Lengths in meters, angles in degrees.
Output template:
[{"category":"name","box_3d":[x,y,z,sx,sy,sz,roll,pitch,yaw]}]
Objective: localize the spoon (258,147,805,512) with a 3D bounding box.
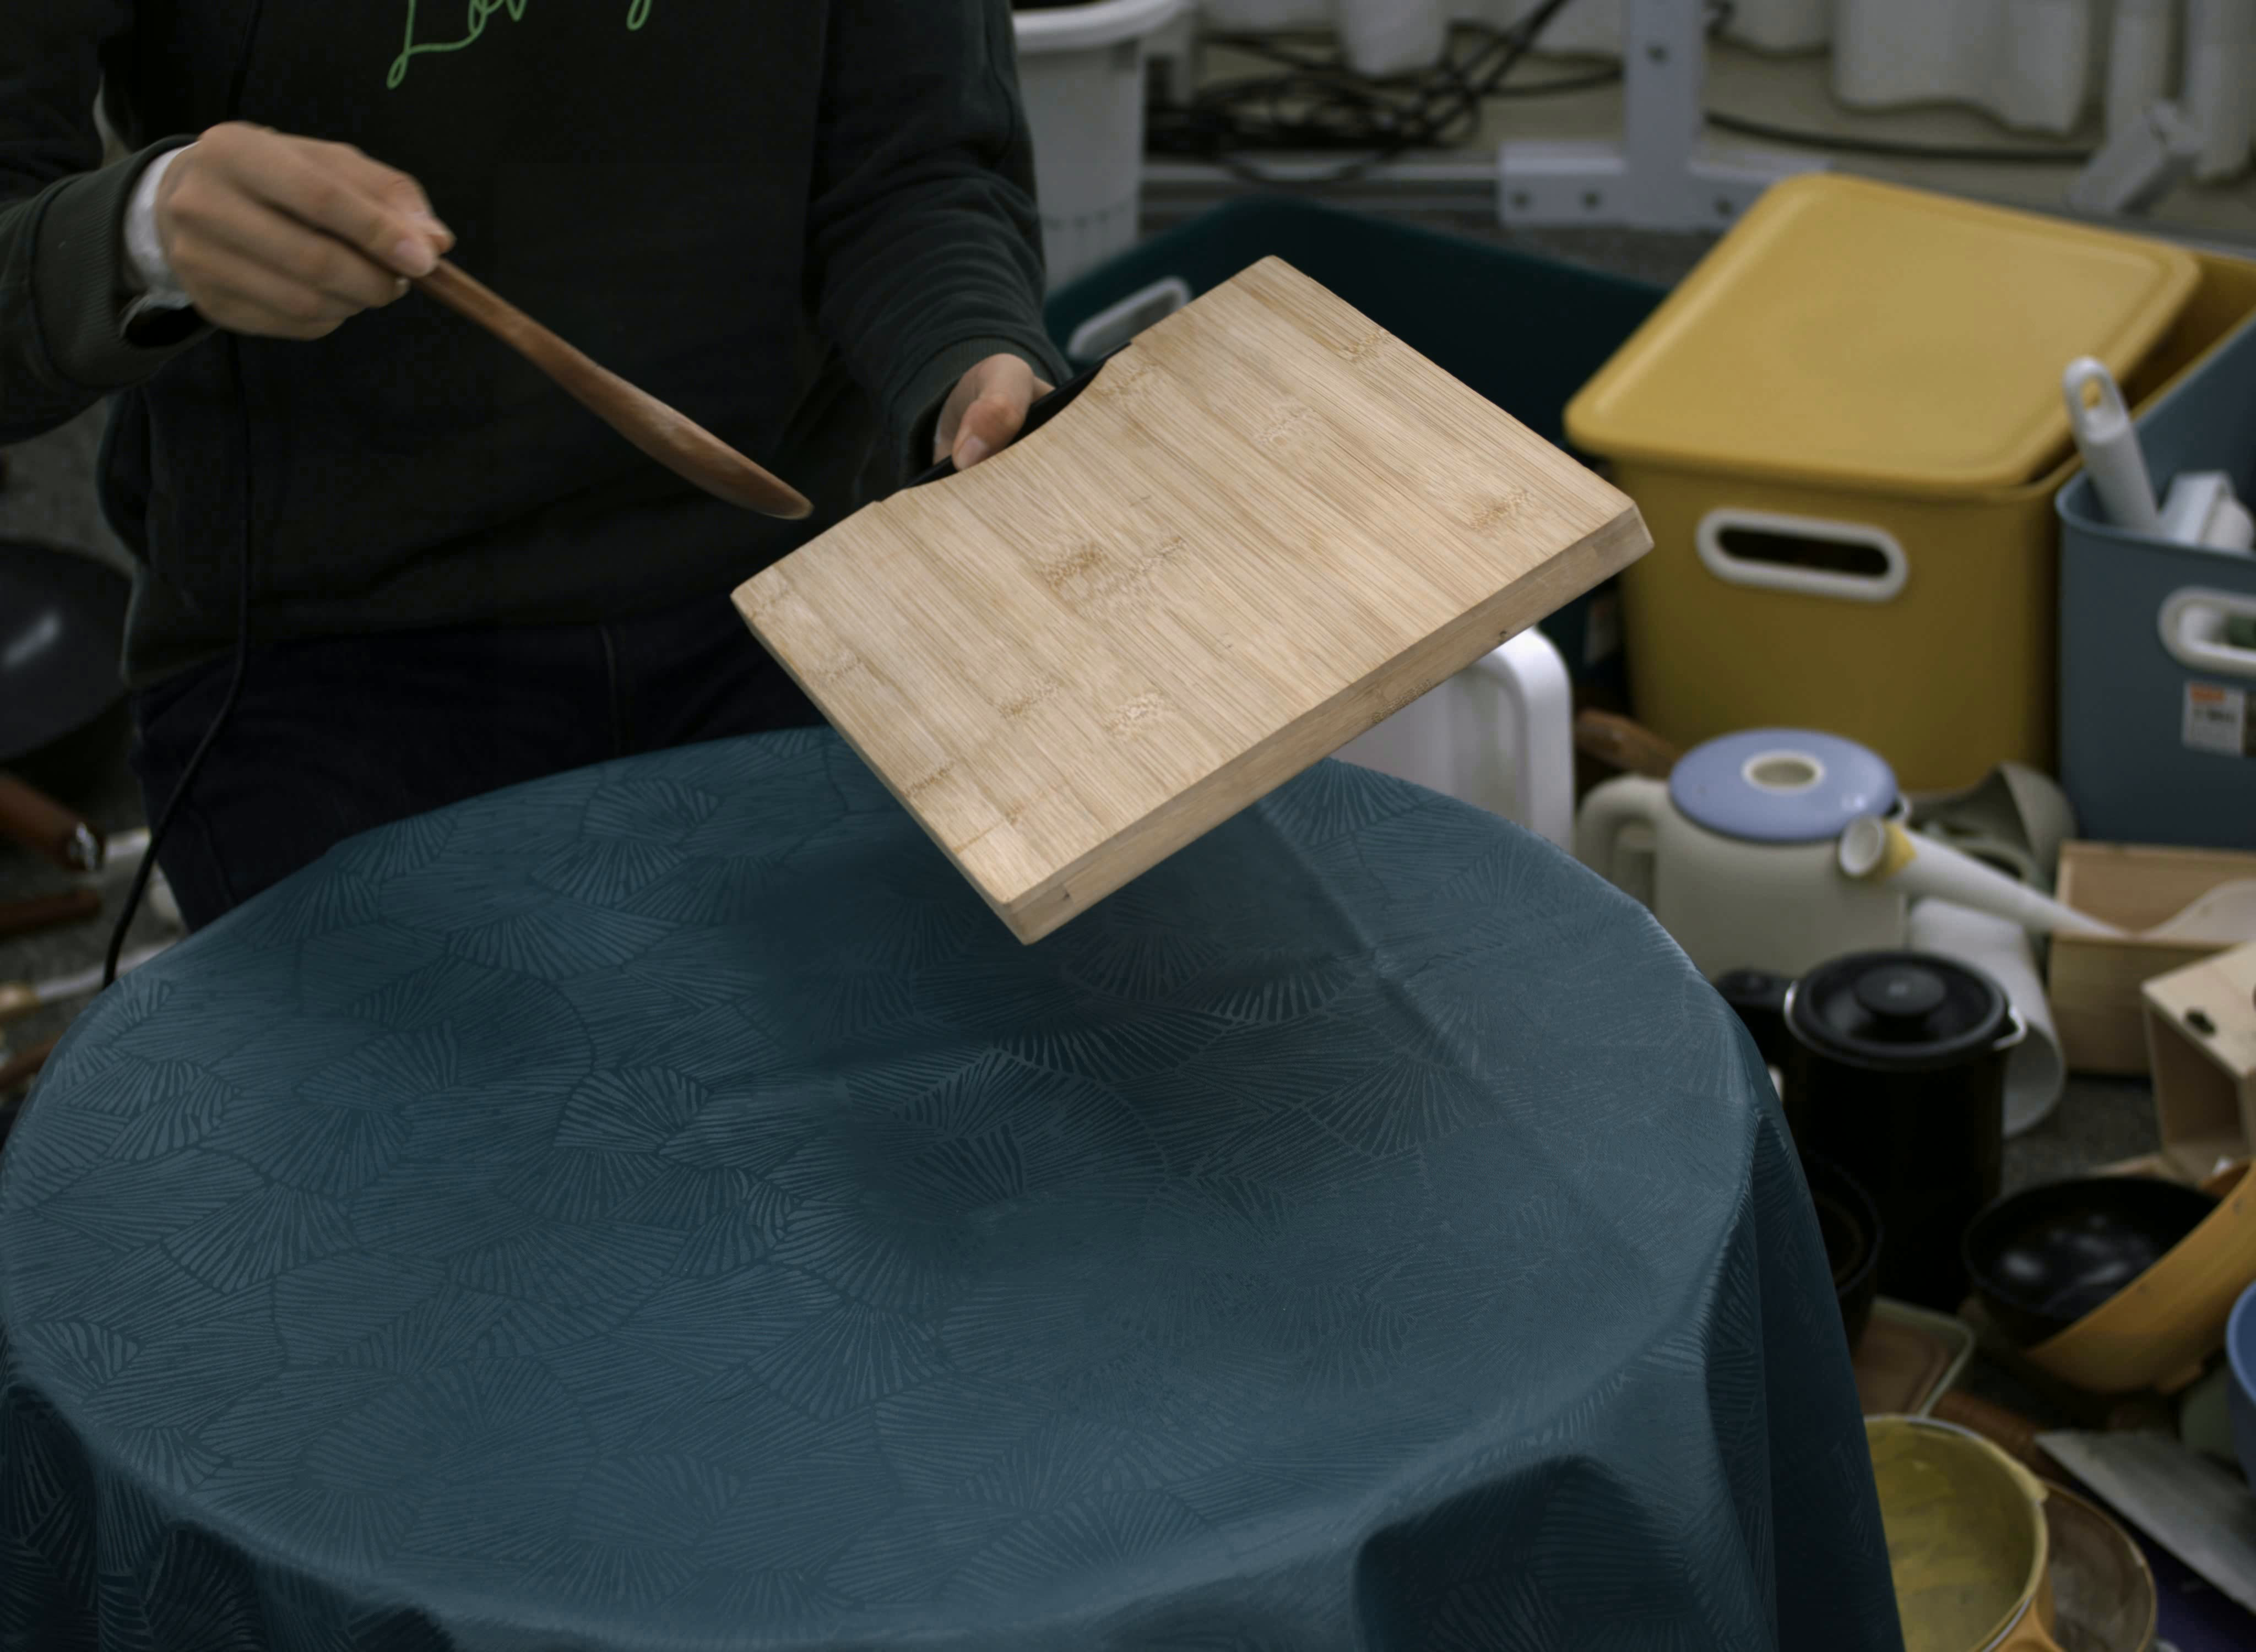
[{"category":"spoon","box_3d":[-0.199,-0.161,1.868,0.216,0.017,0.076,34,8,8]}]

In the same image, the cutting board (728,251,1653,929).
[{"category":"cutting board","box_3d":[0.011,-0.089,1.929,0.251,0.023,0.350,-31,26,-8]}]
